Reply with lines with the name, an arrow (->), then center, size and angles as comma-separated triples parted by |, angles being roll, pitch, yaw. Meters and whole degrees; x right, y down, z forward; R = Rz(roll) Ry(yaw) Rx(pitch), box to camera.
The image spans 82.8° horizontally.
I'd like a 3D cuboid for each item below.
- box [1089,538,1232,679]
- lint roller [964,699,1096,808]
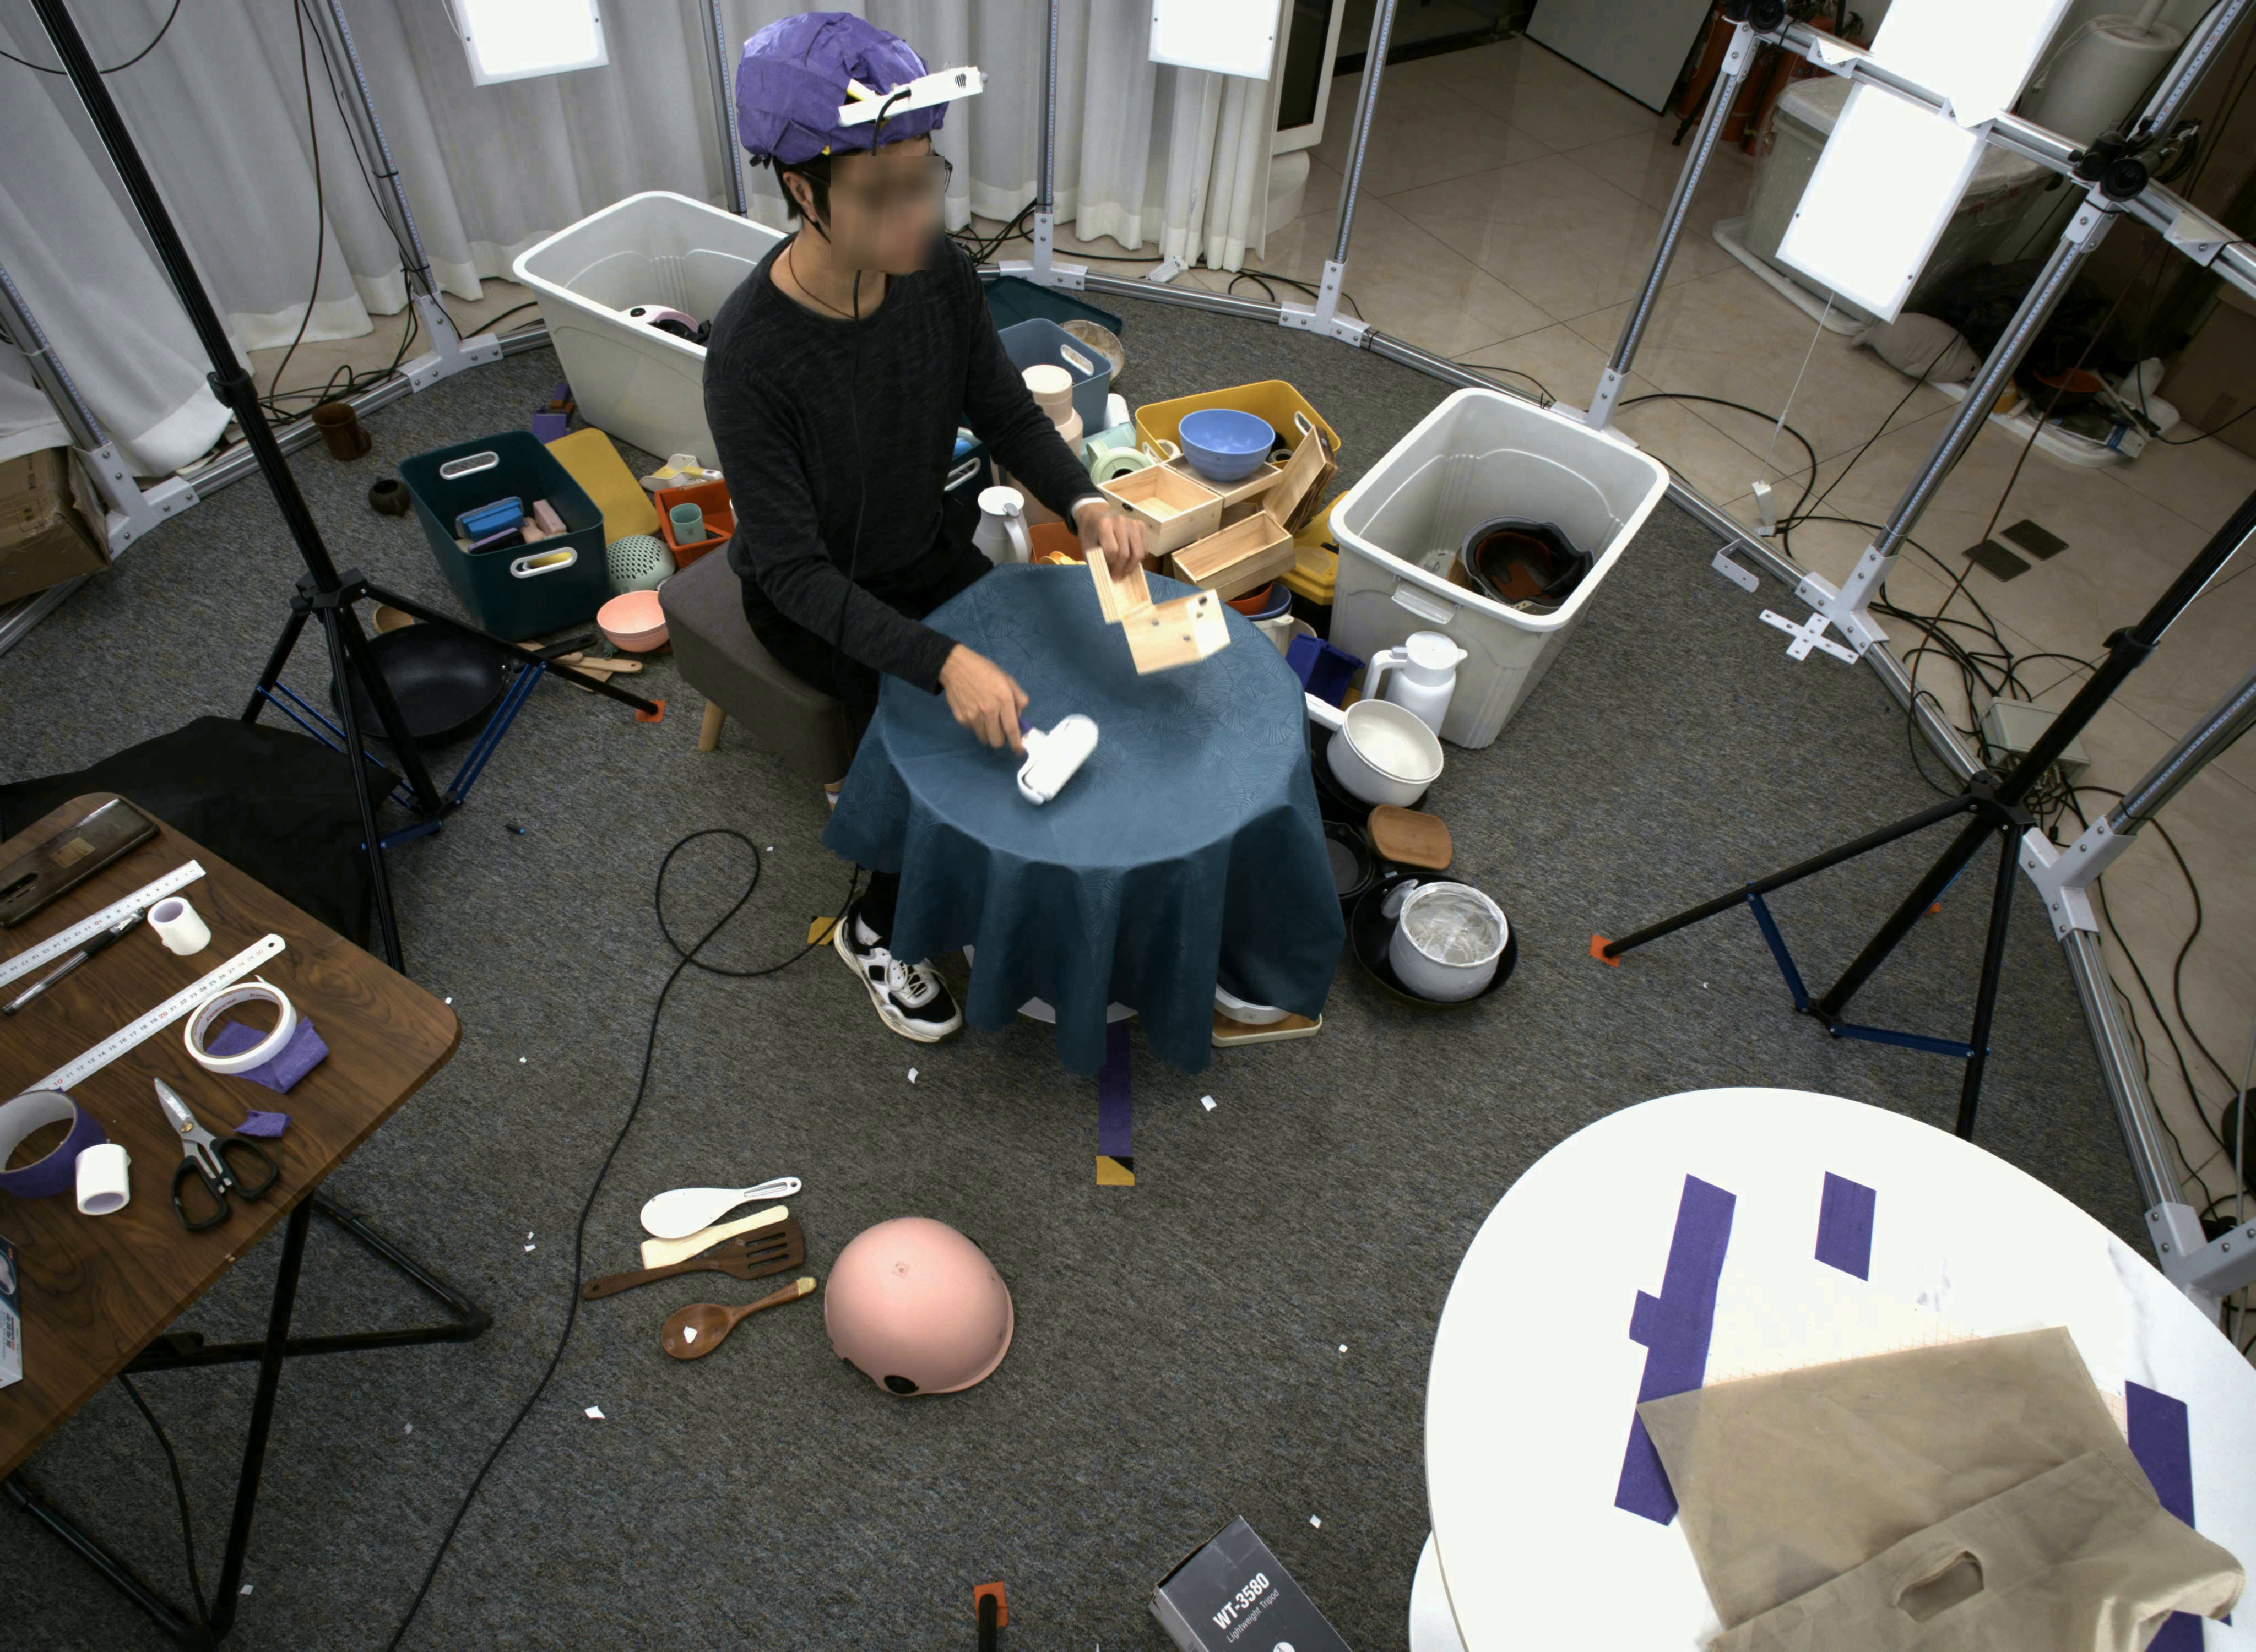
box -> 0.048, -0.310, 1.772 | 0.134, 0.182, 0.103 | -9, 16, 32
lint roller -> -0.142, -0.119, 1.703 | 0.181, 0.049, 0.134 | 40, 65, 7
